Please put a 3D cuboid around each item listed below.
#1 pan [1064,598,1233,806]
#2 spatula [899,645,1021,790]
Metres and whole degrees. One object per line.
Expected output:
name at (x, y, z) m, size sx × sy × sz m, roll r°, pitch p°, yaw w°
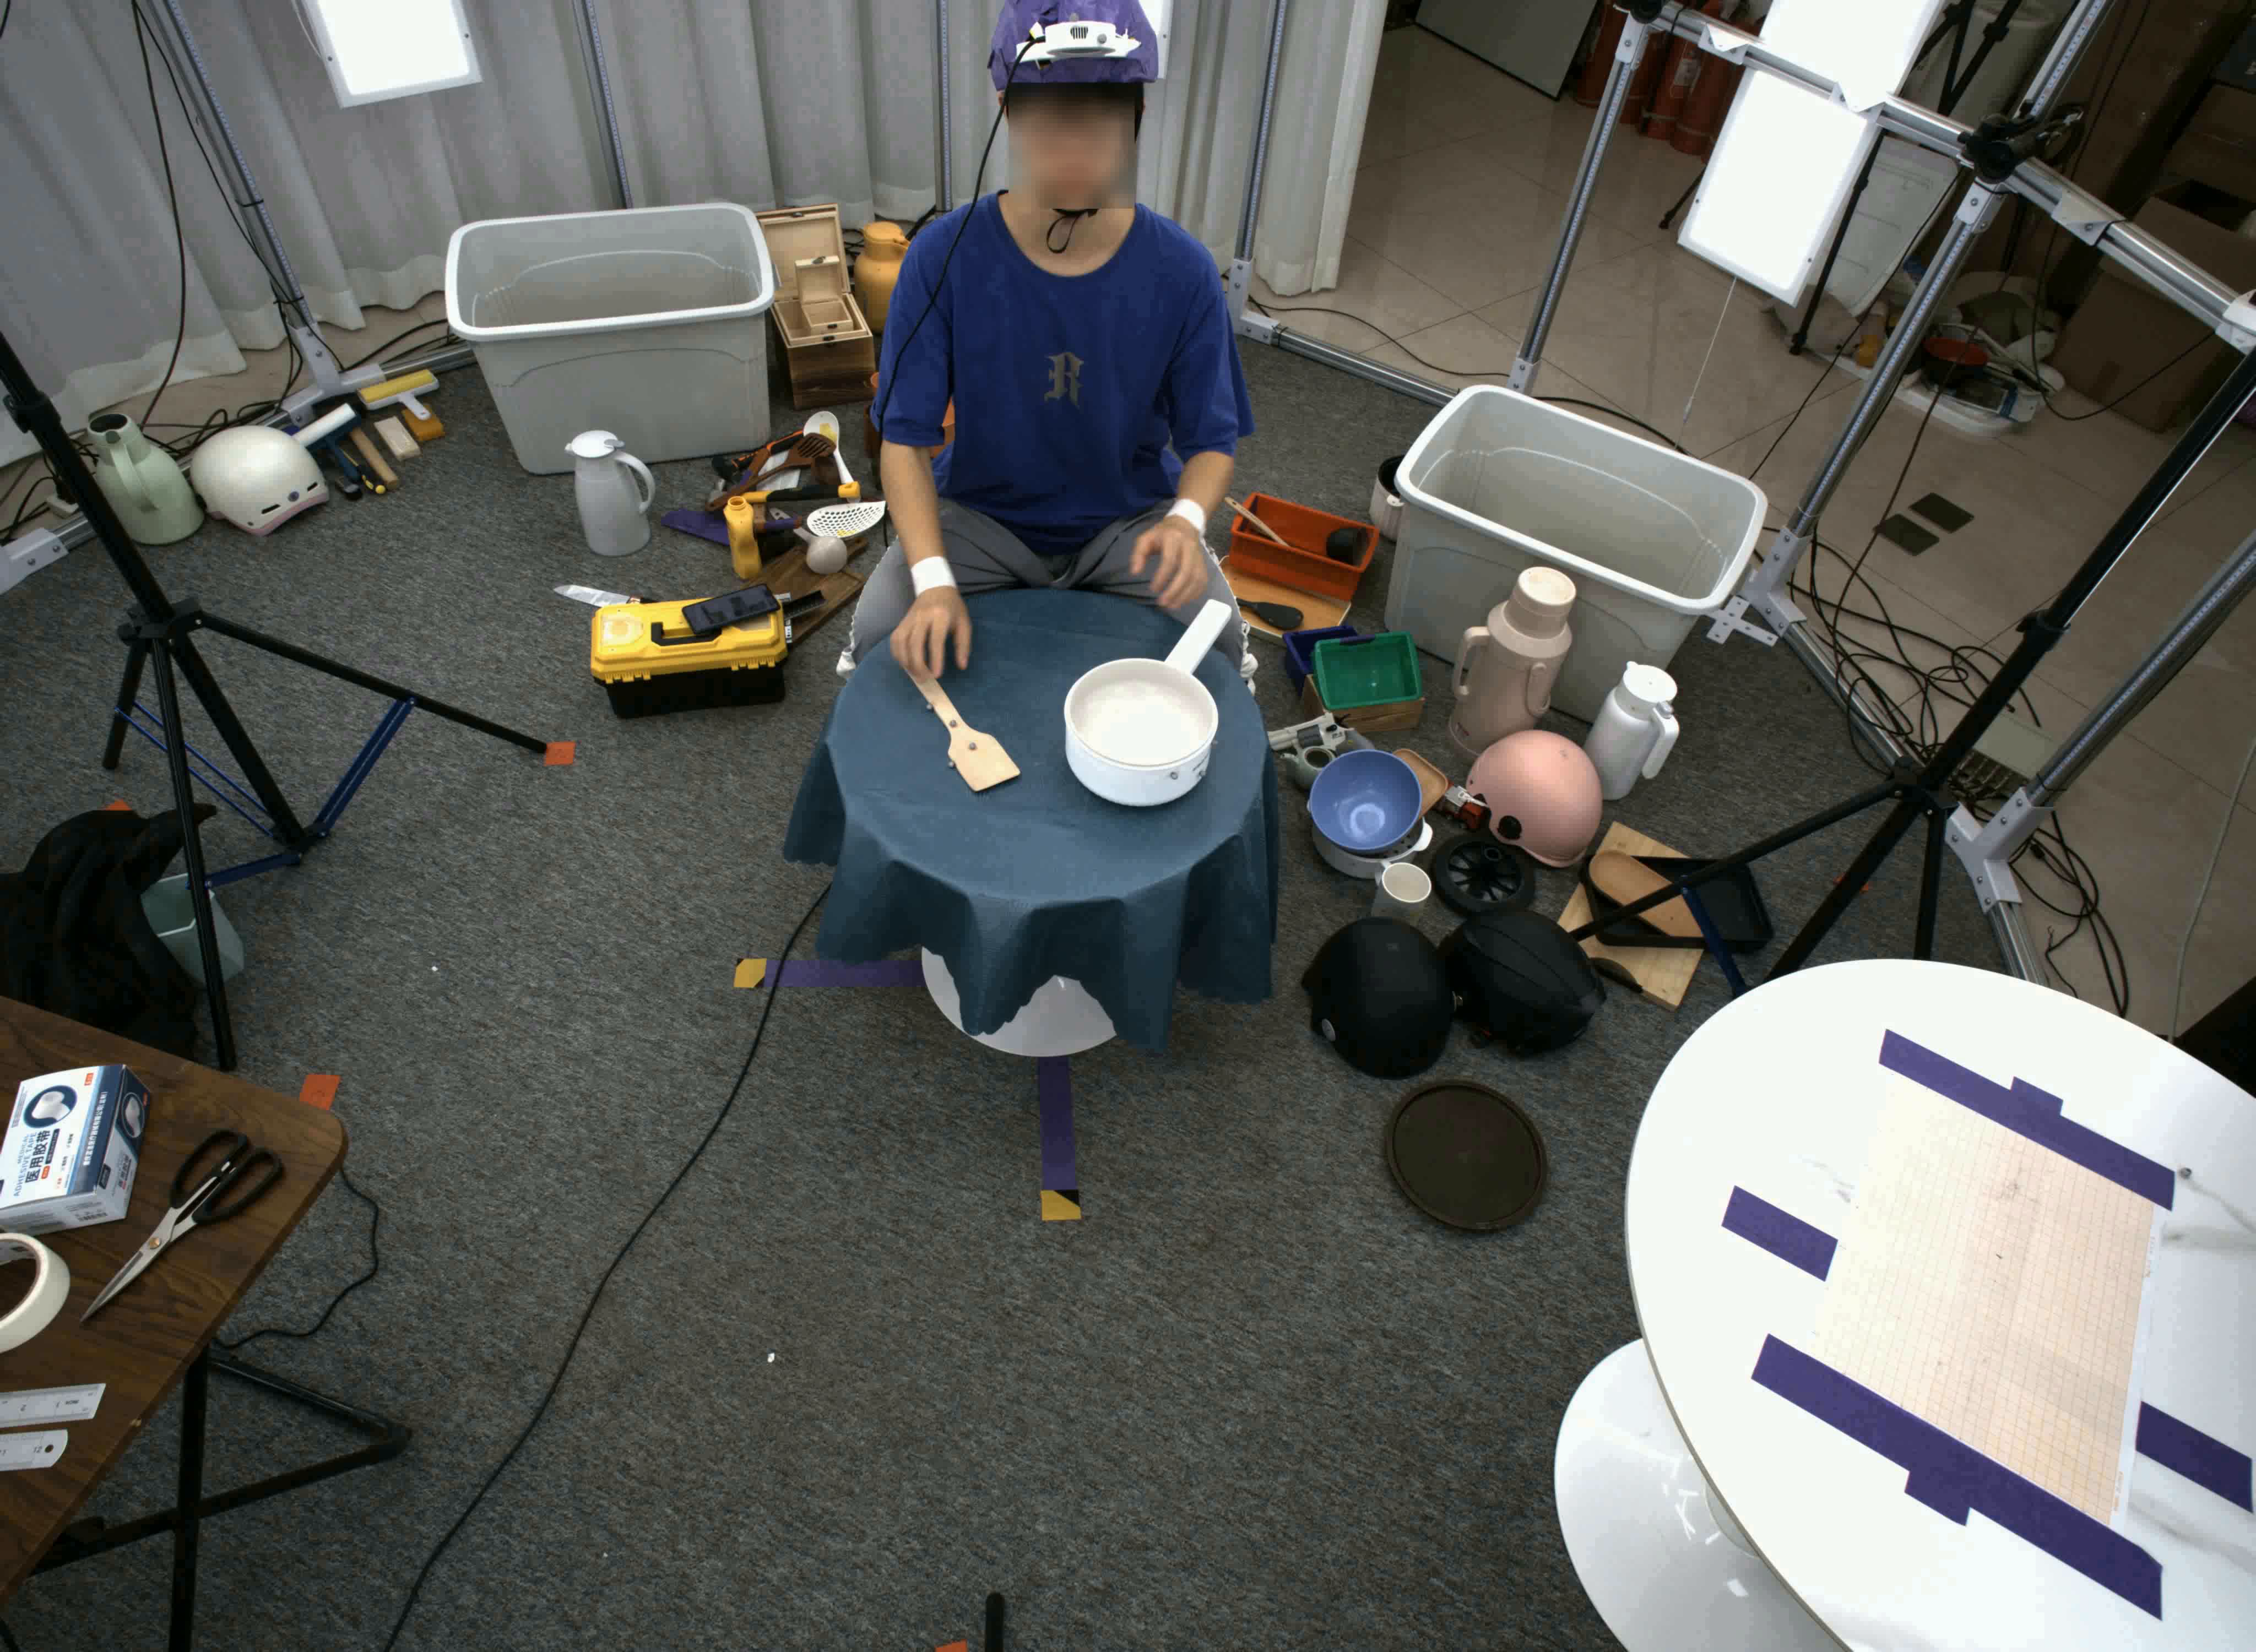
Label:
pan at (0.050, -0.173, 1.762) m, size 0.202 × 0.099 × 0.361 m, roll 21°, pitch 52°, yaw 16°
spatula at (-0.247, -0.158, 1.788) m, size 0.072 × 0.010 × 0.299 m, roll -23°, pitch 55°, yaw -20°
